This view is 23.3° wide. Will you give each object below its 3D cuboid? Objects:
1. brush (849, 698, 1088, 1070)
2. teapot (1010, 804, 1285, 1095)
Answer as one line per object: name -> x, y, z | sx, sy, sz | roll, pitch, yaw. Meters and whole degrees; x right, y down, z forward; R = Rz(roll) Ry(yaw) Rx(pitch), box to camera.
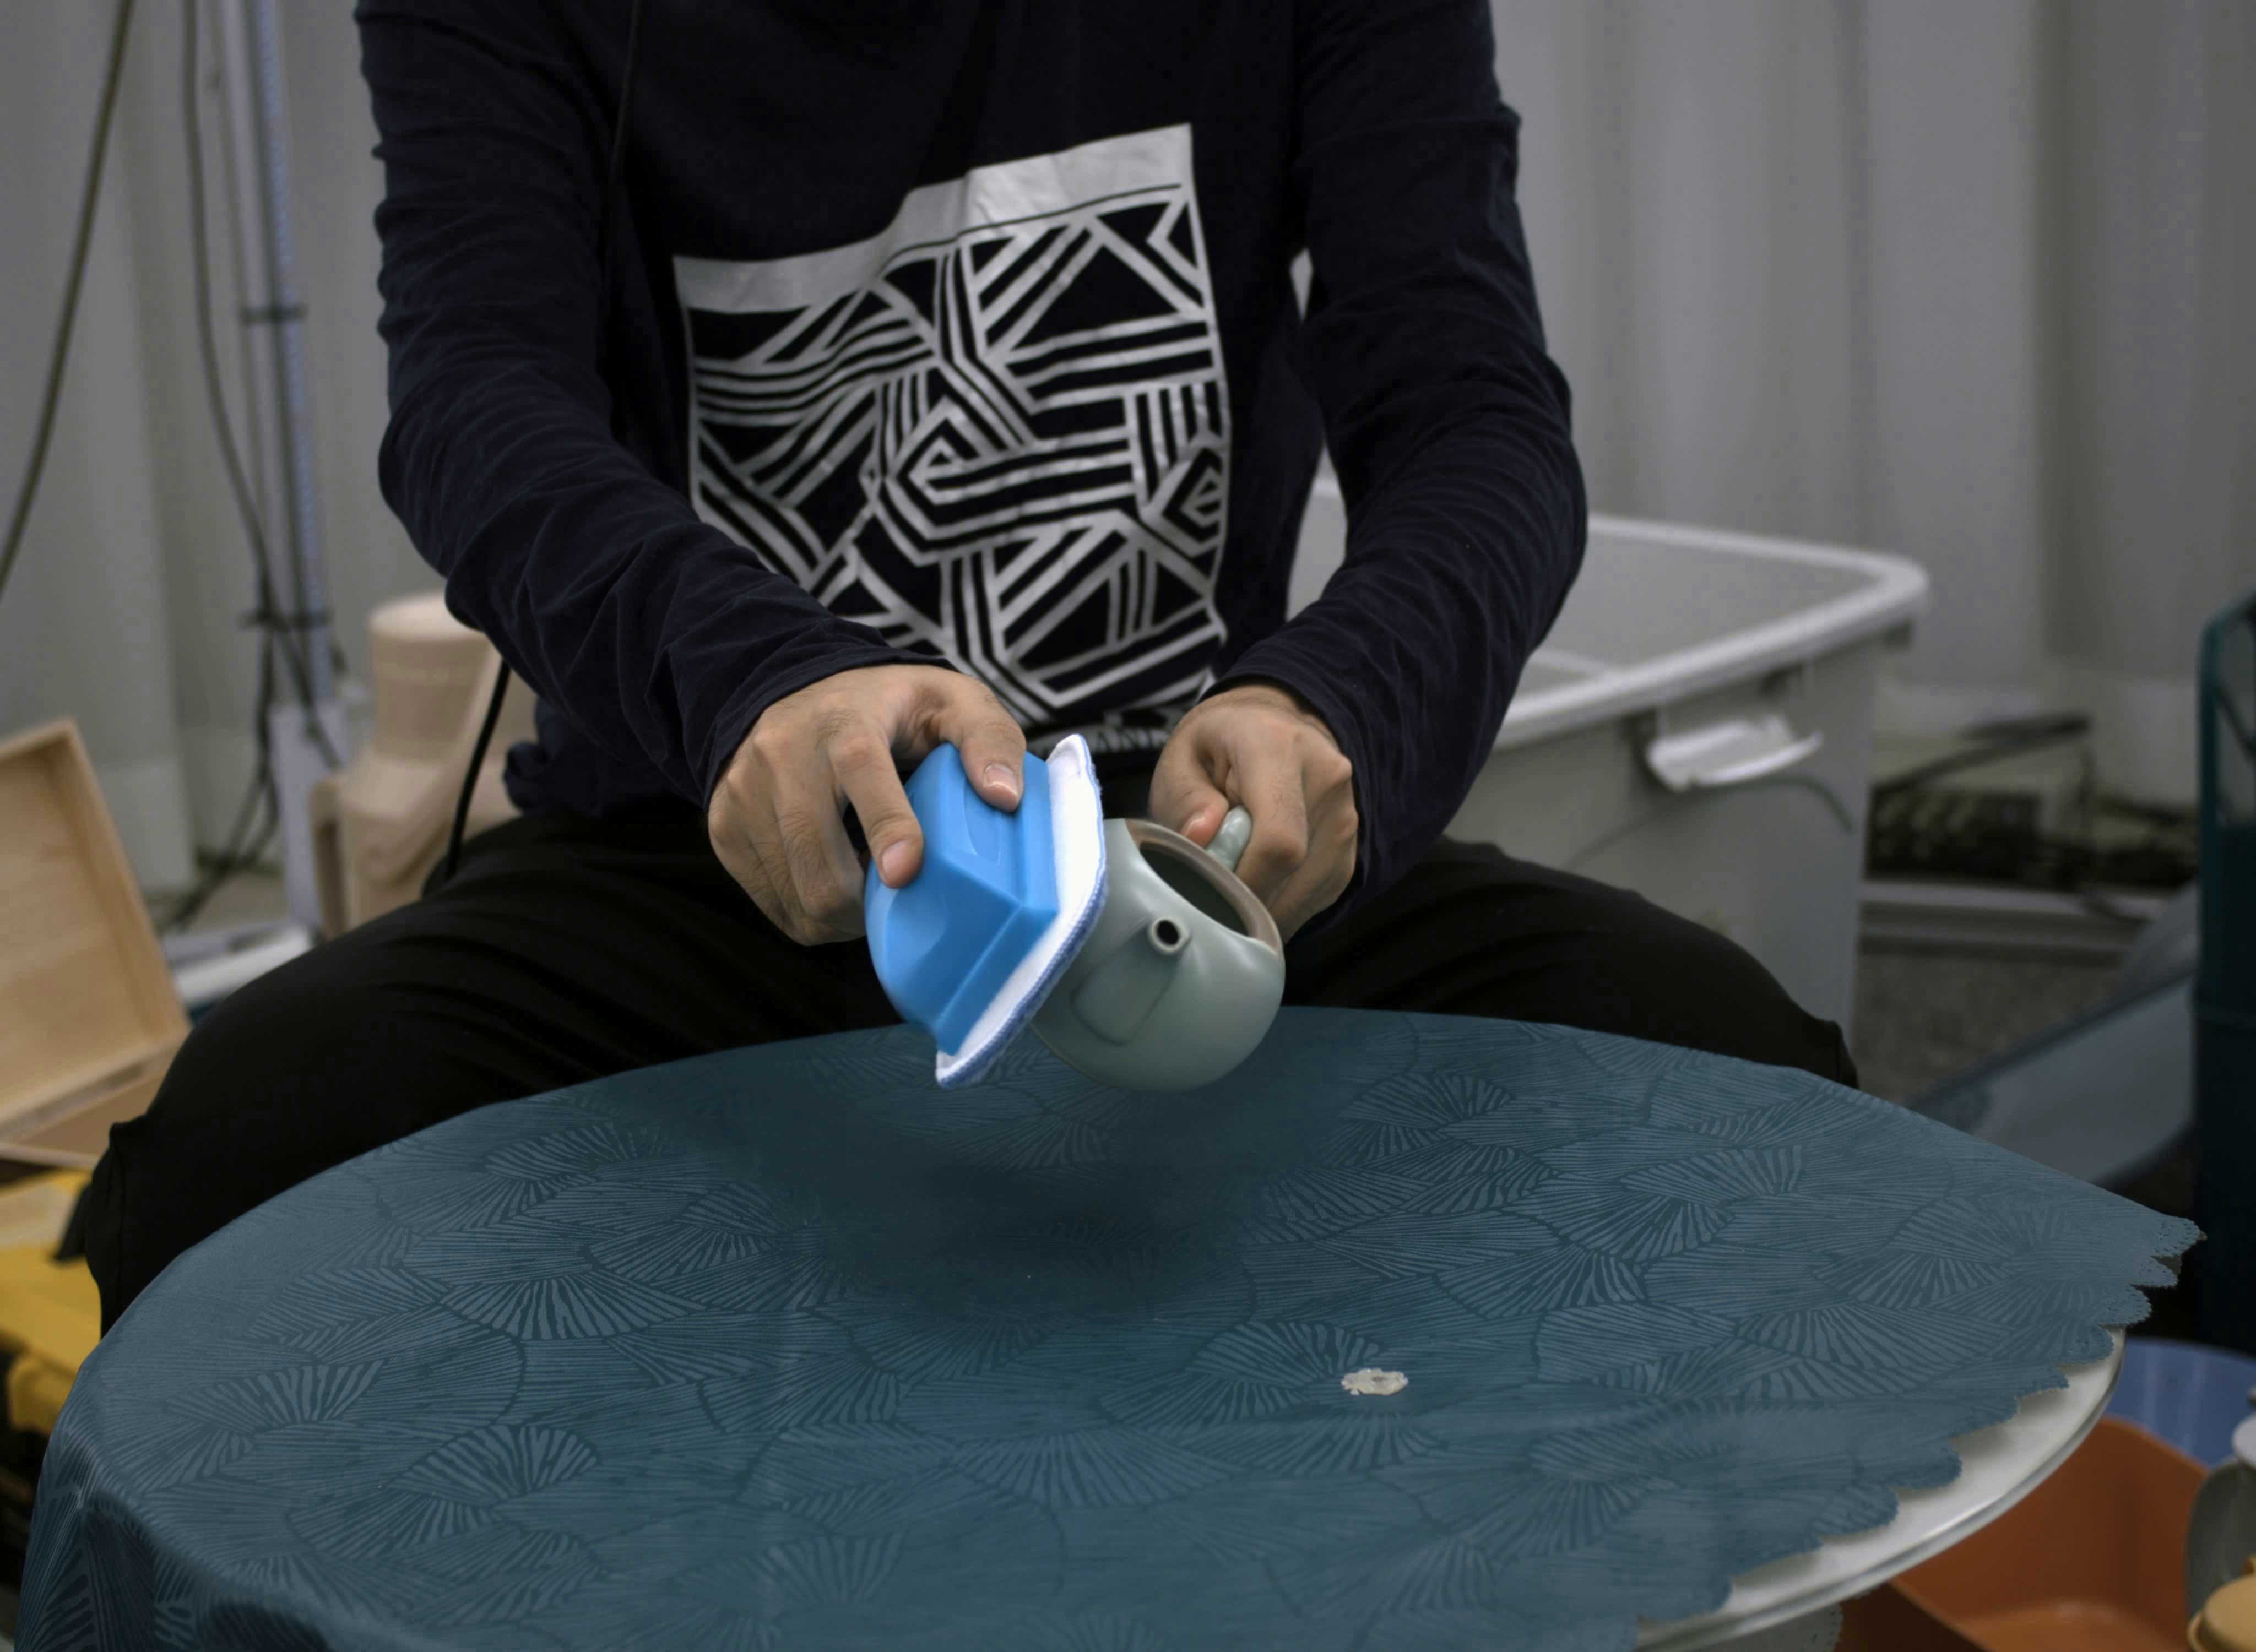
brush -> -0.054, 0.011, 1.631 | 0.055, 0.083, 0.145 | 35, 18, -18
teapot -> 0.005, 0.039, 1.660 | 0.088, 0.074, 0.144 | 39, 20, 3
